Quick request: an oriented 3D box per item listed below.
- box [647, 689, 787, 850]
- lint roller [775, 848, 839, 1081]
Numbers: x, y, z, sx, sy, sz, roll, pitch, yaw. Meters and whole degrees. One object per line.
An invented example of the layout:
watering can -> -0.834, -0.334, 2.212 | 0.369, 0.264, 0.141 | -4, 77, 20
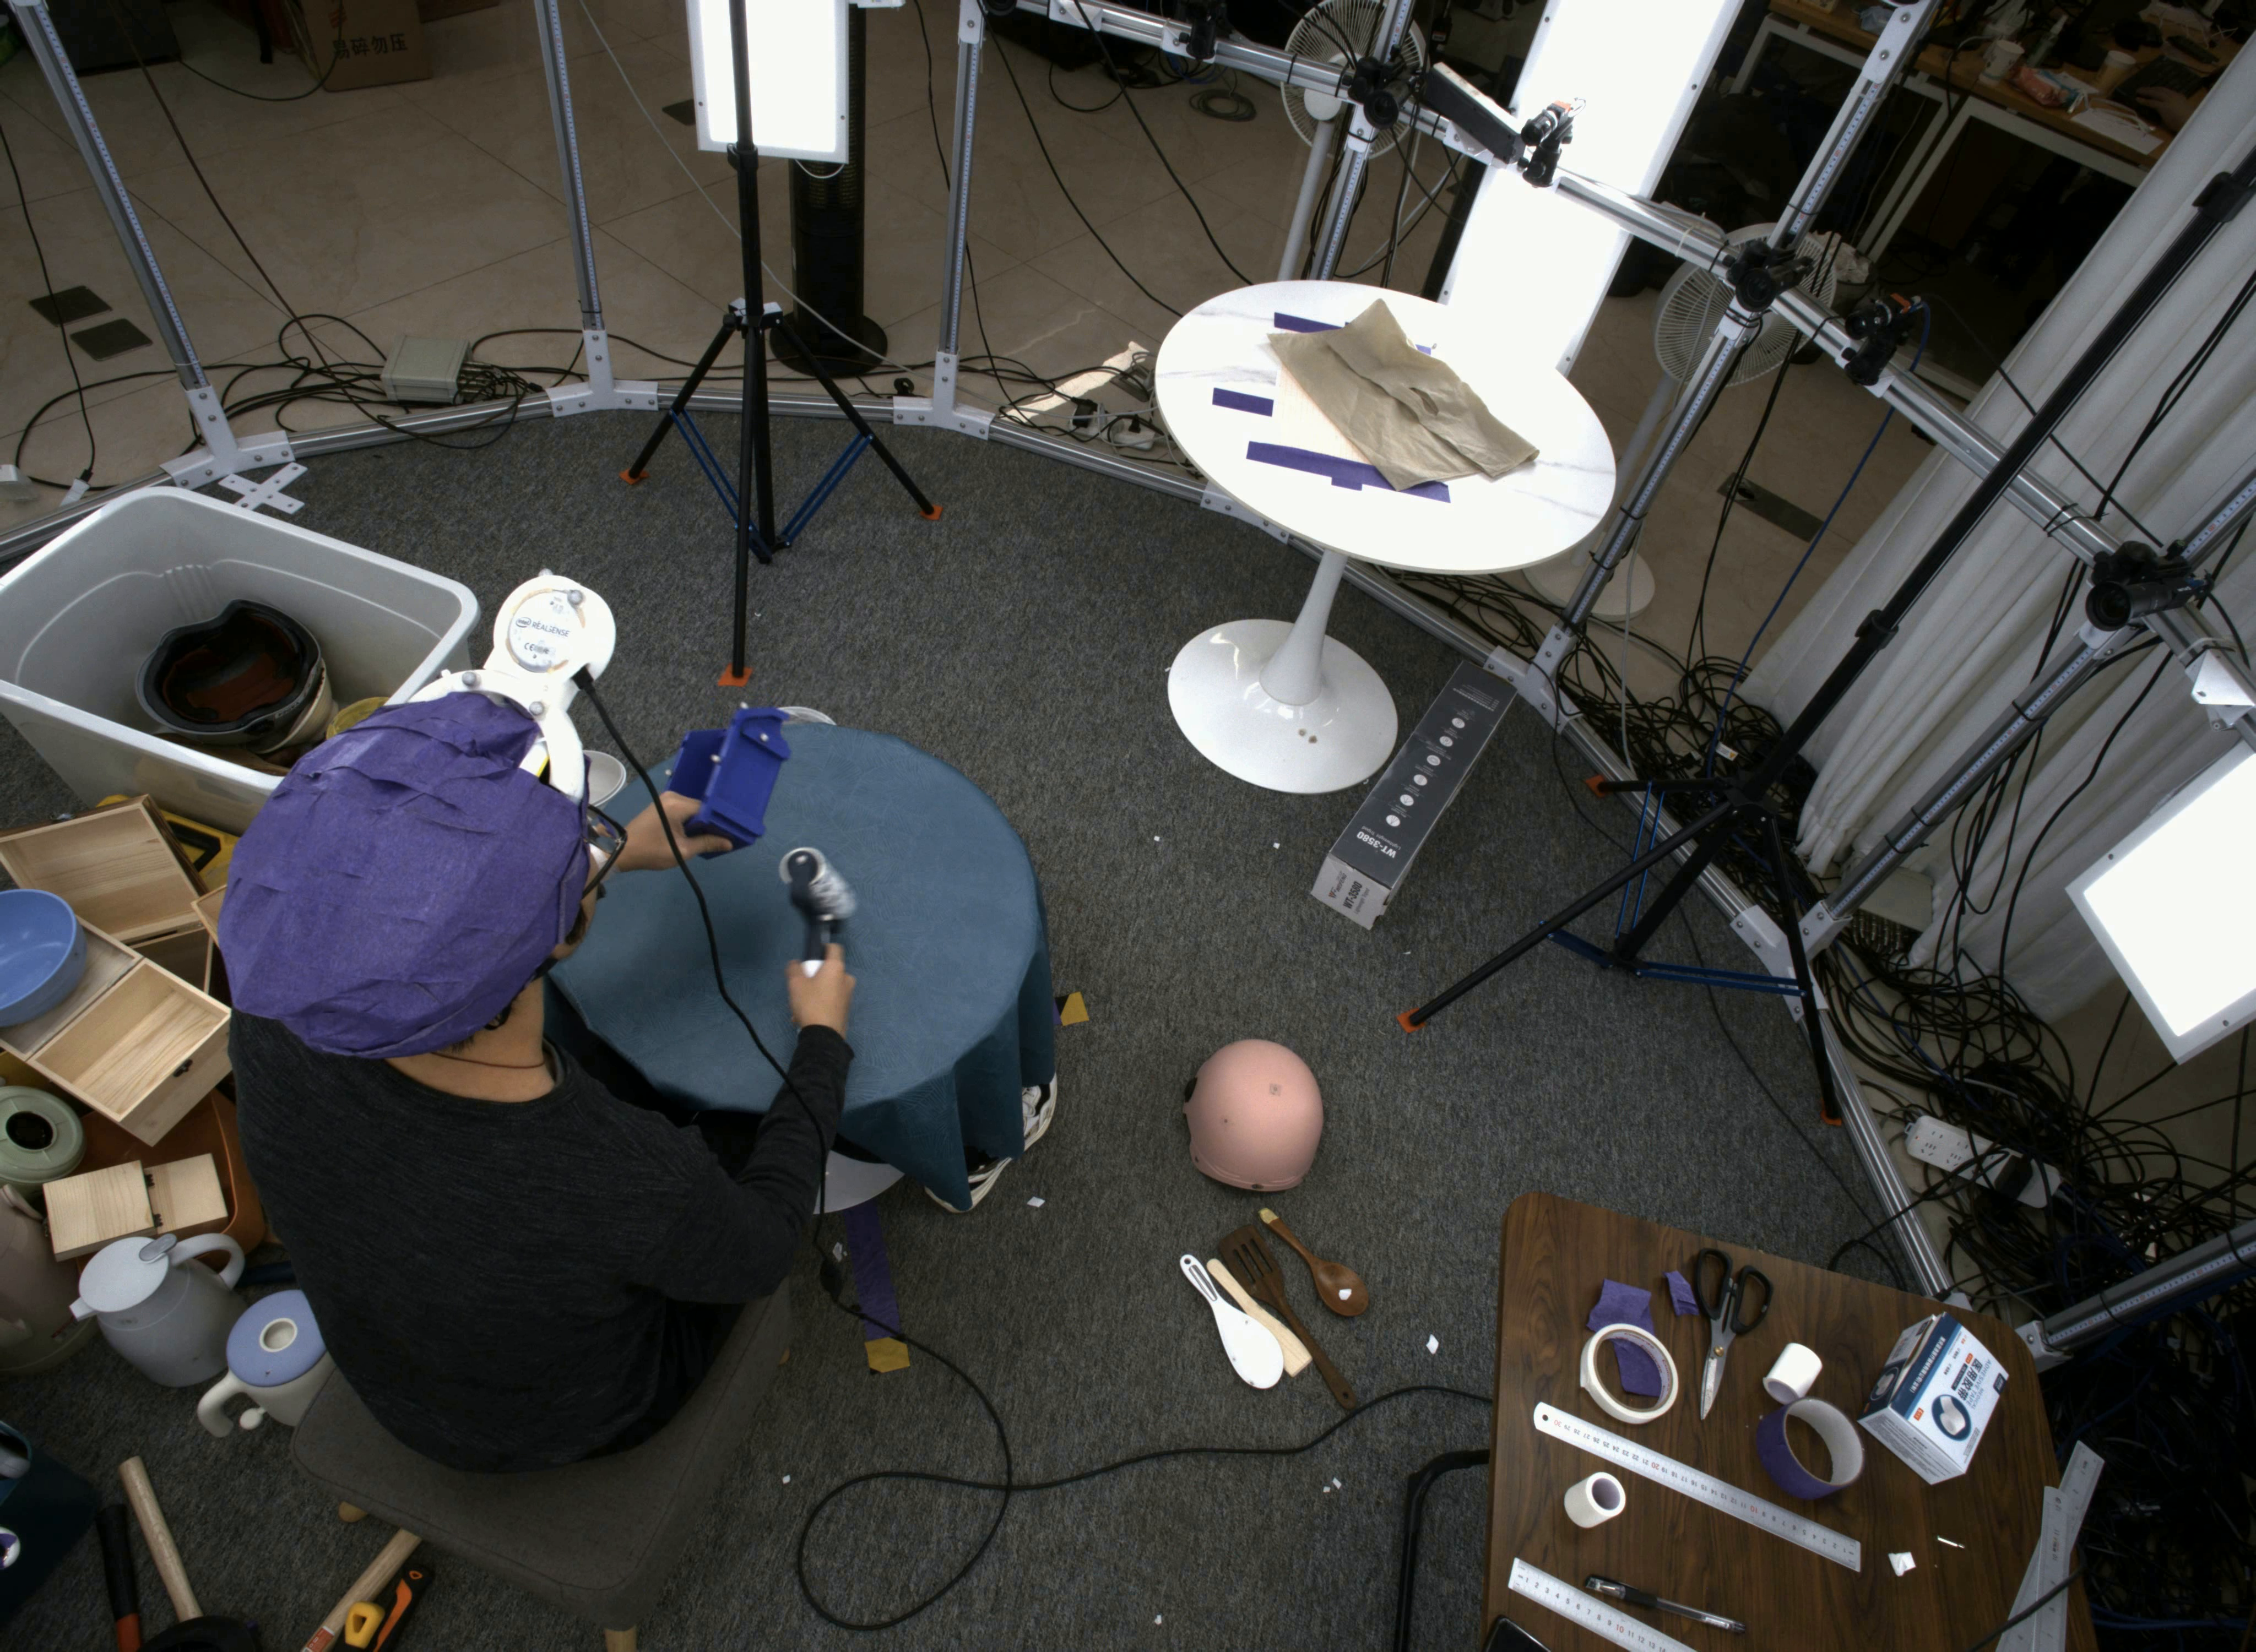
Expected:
box -> -0.473, -0.069, 1.499 | 0.084, 0.121, 0.178 | 30, 58, -38
lint roller -> -0.366, 0.166, 1.499 | 0.050, 0.178, 0.246 | -5, 76, -4
